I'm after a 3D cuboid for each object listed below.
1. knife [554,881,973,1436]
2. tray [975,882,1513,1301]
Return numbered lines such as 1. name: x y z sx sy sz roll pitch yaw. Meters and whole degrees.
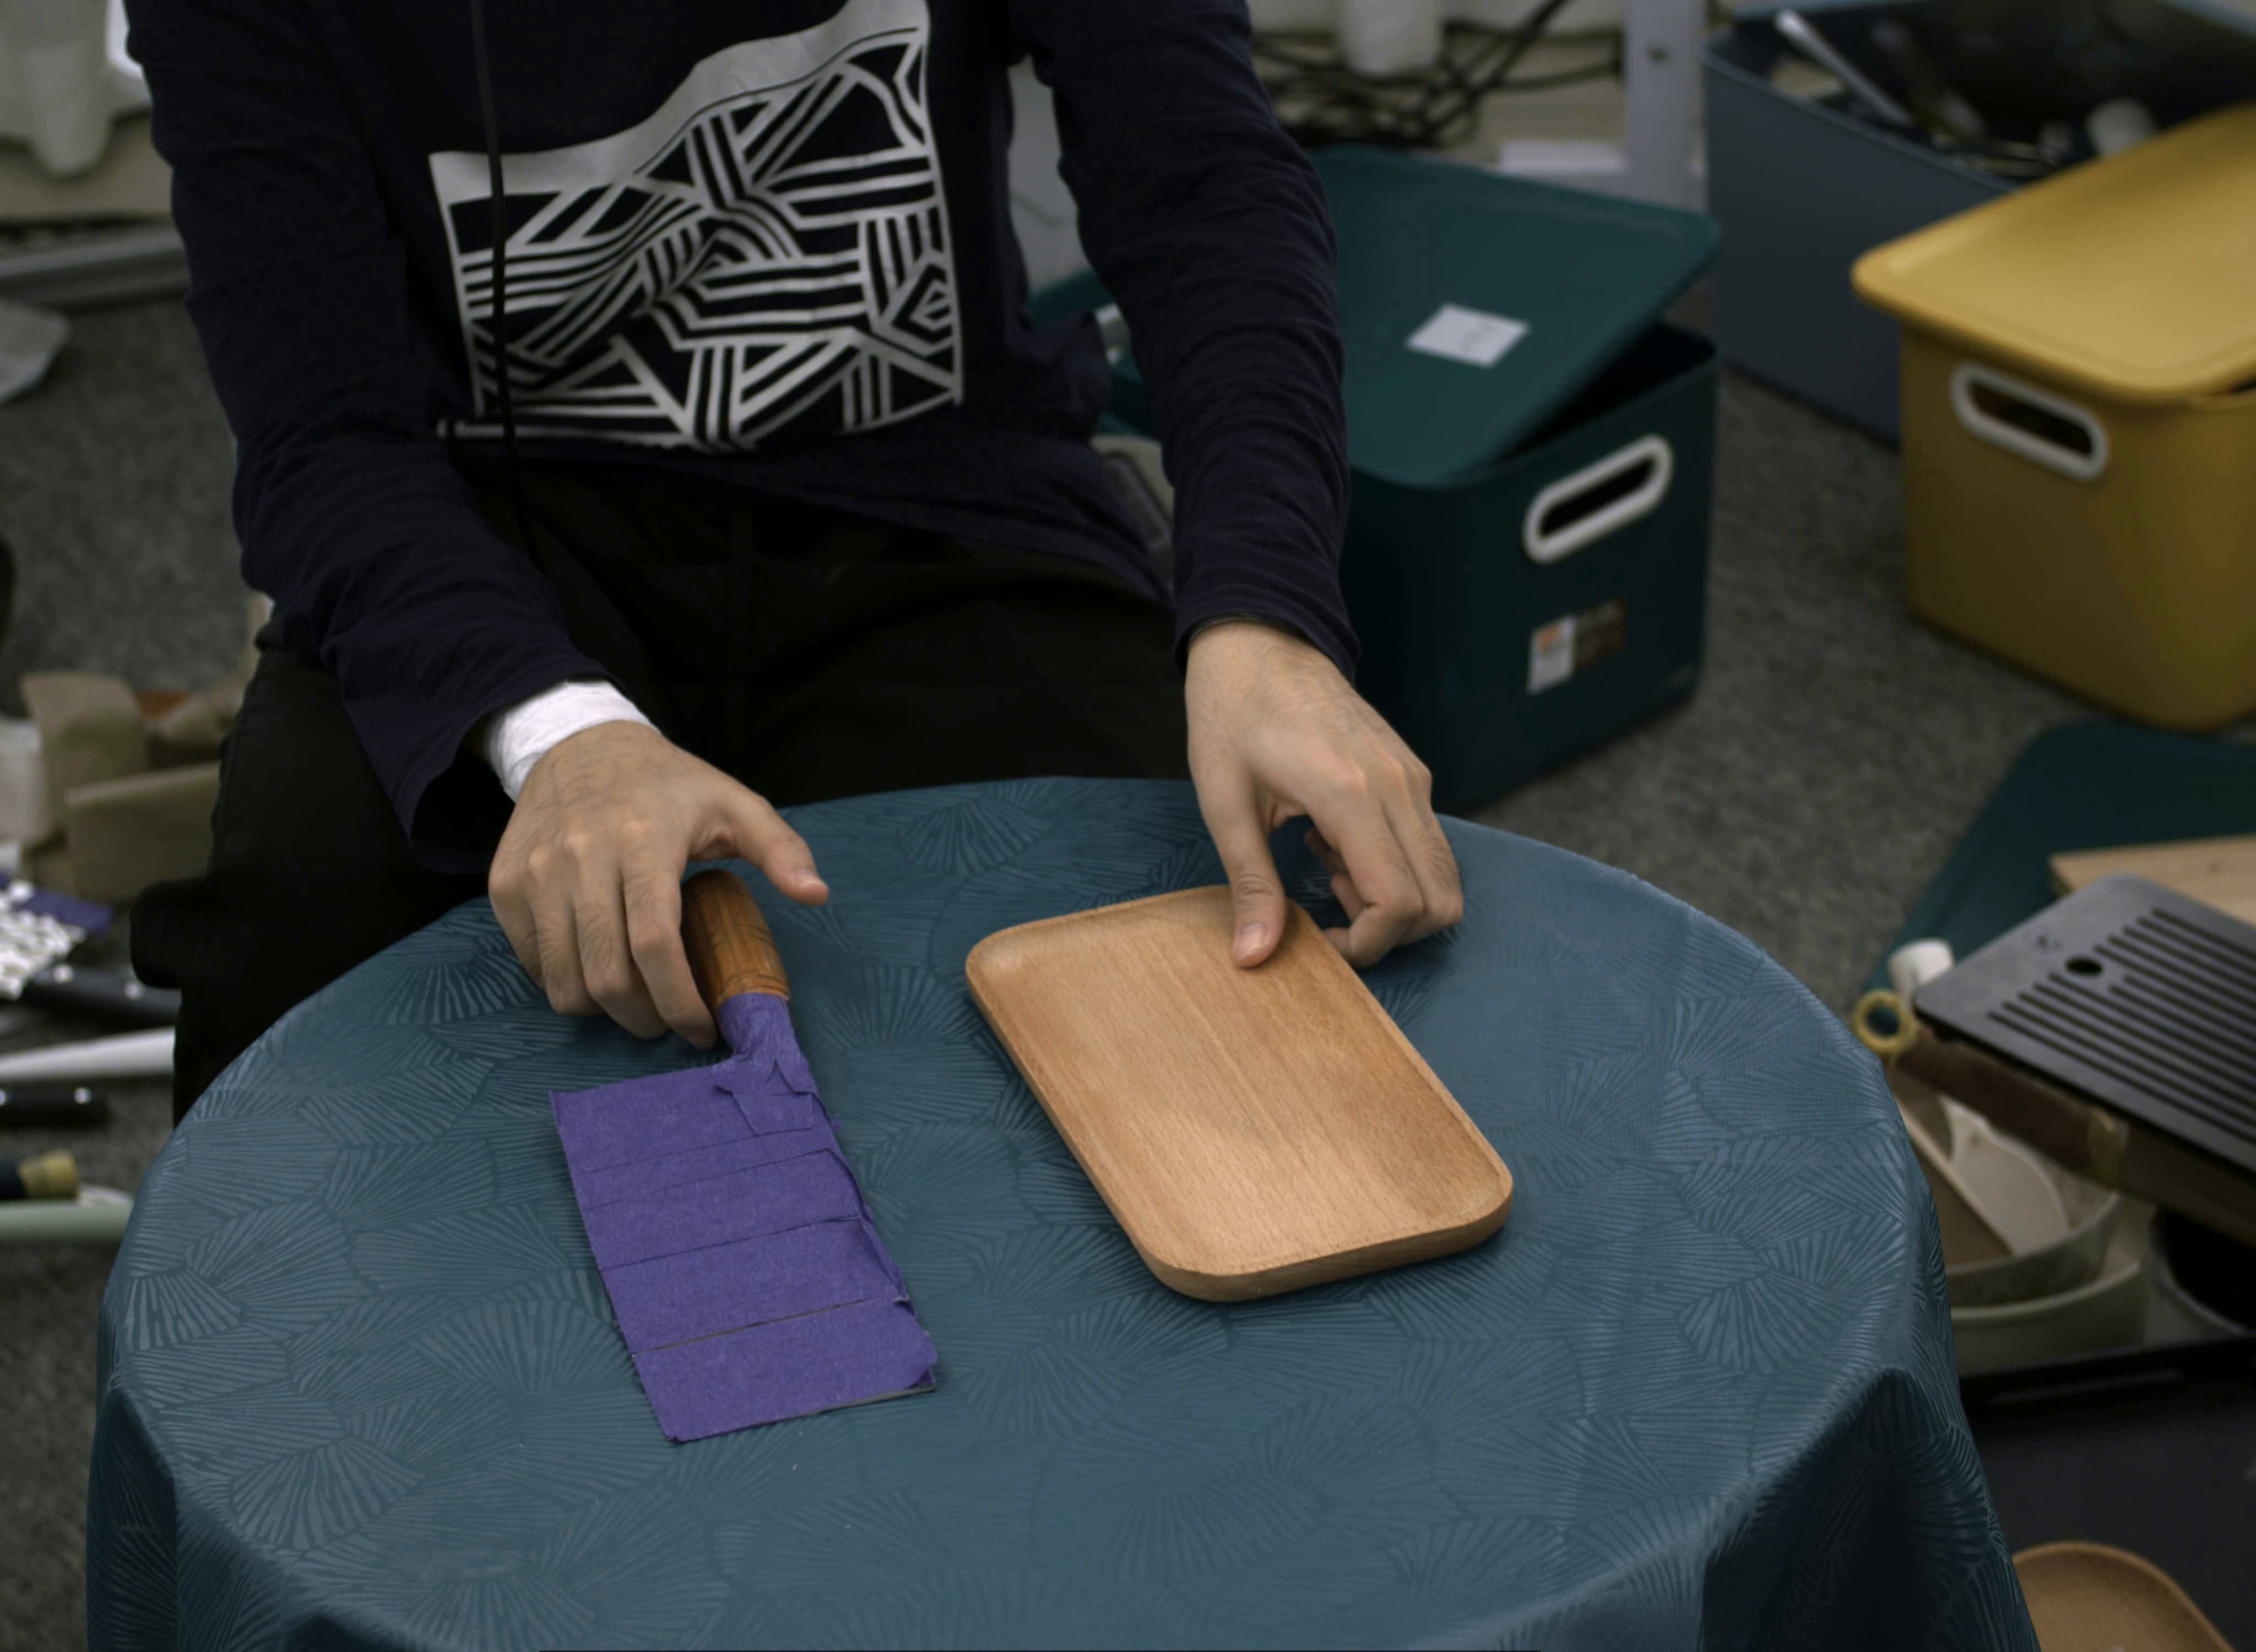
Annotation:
1. knife: -0.140 0.106 1.876 0.104 0.032 0.318 -10 28 -13
2. tray: 0.036 0.087 1.907 0.130 0.022 0.253 -8 27 -14
